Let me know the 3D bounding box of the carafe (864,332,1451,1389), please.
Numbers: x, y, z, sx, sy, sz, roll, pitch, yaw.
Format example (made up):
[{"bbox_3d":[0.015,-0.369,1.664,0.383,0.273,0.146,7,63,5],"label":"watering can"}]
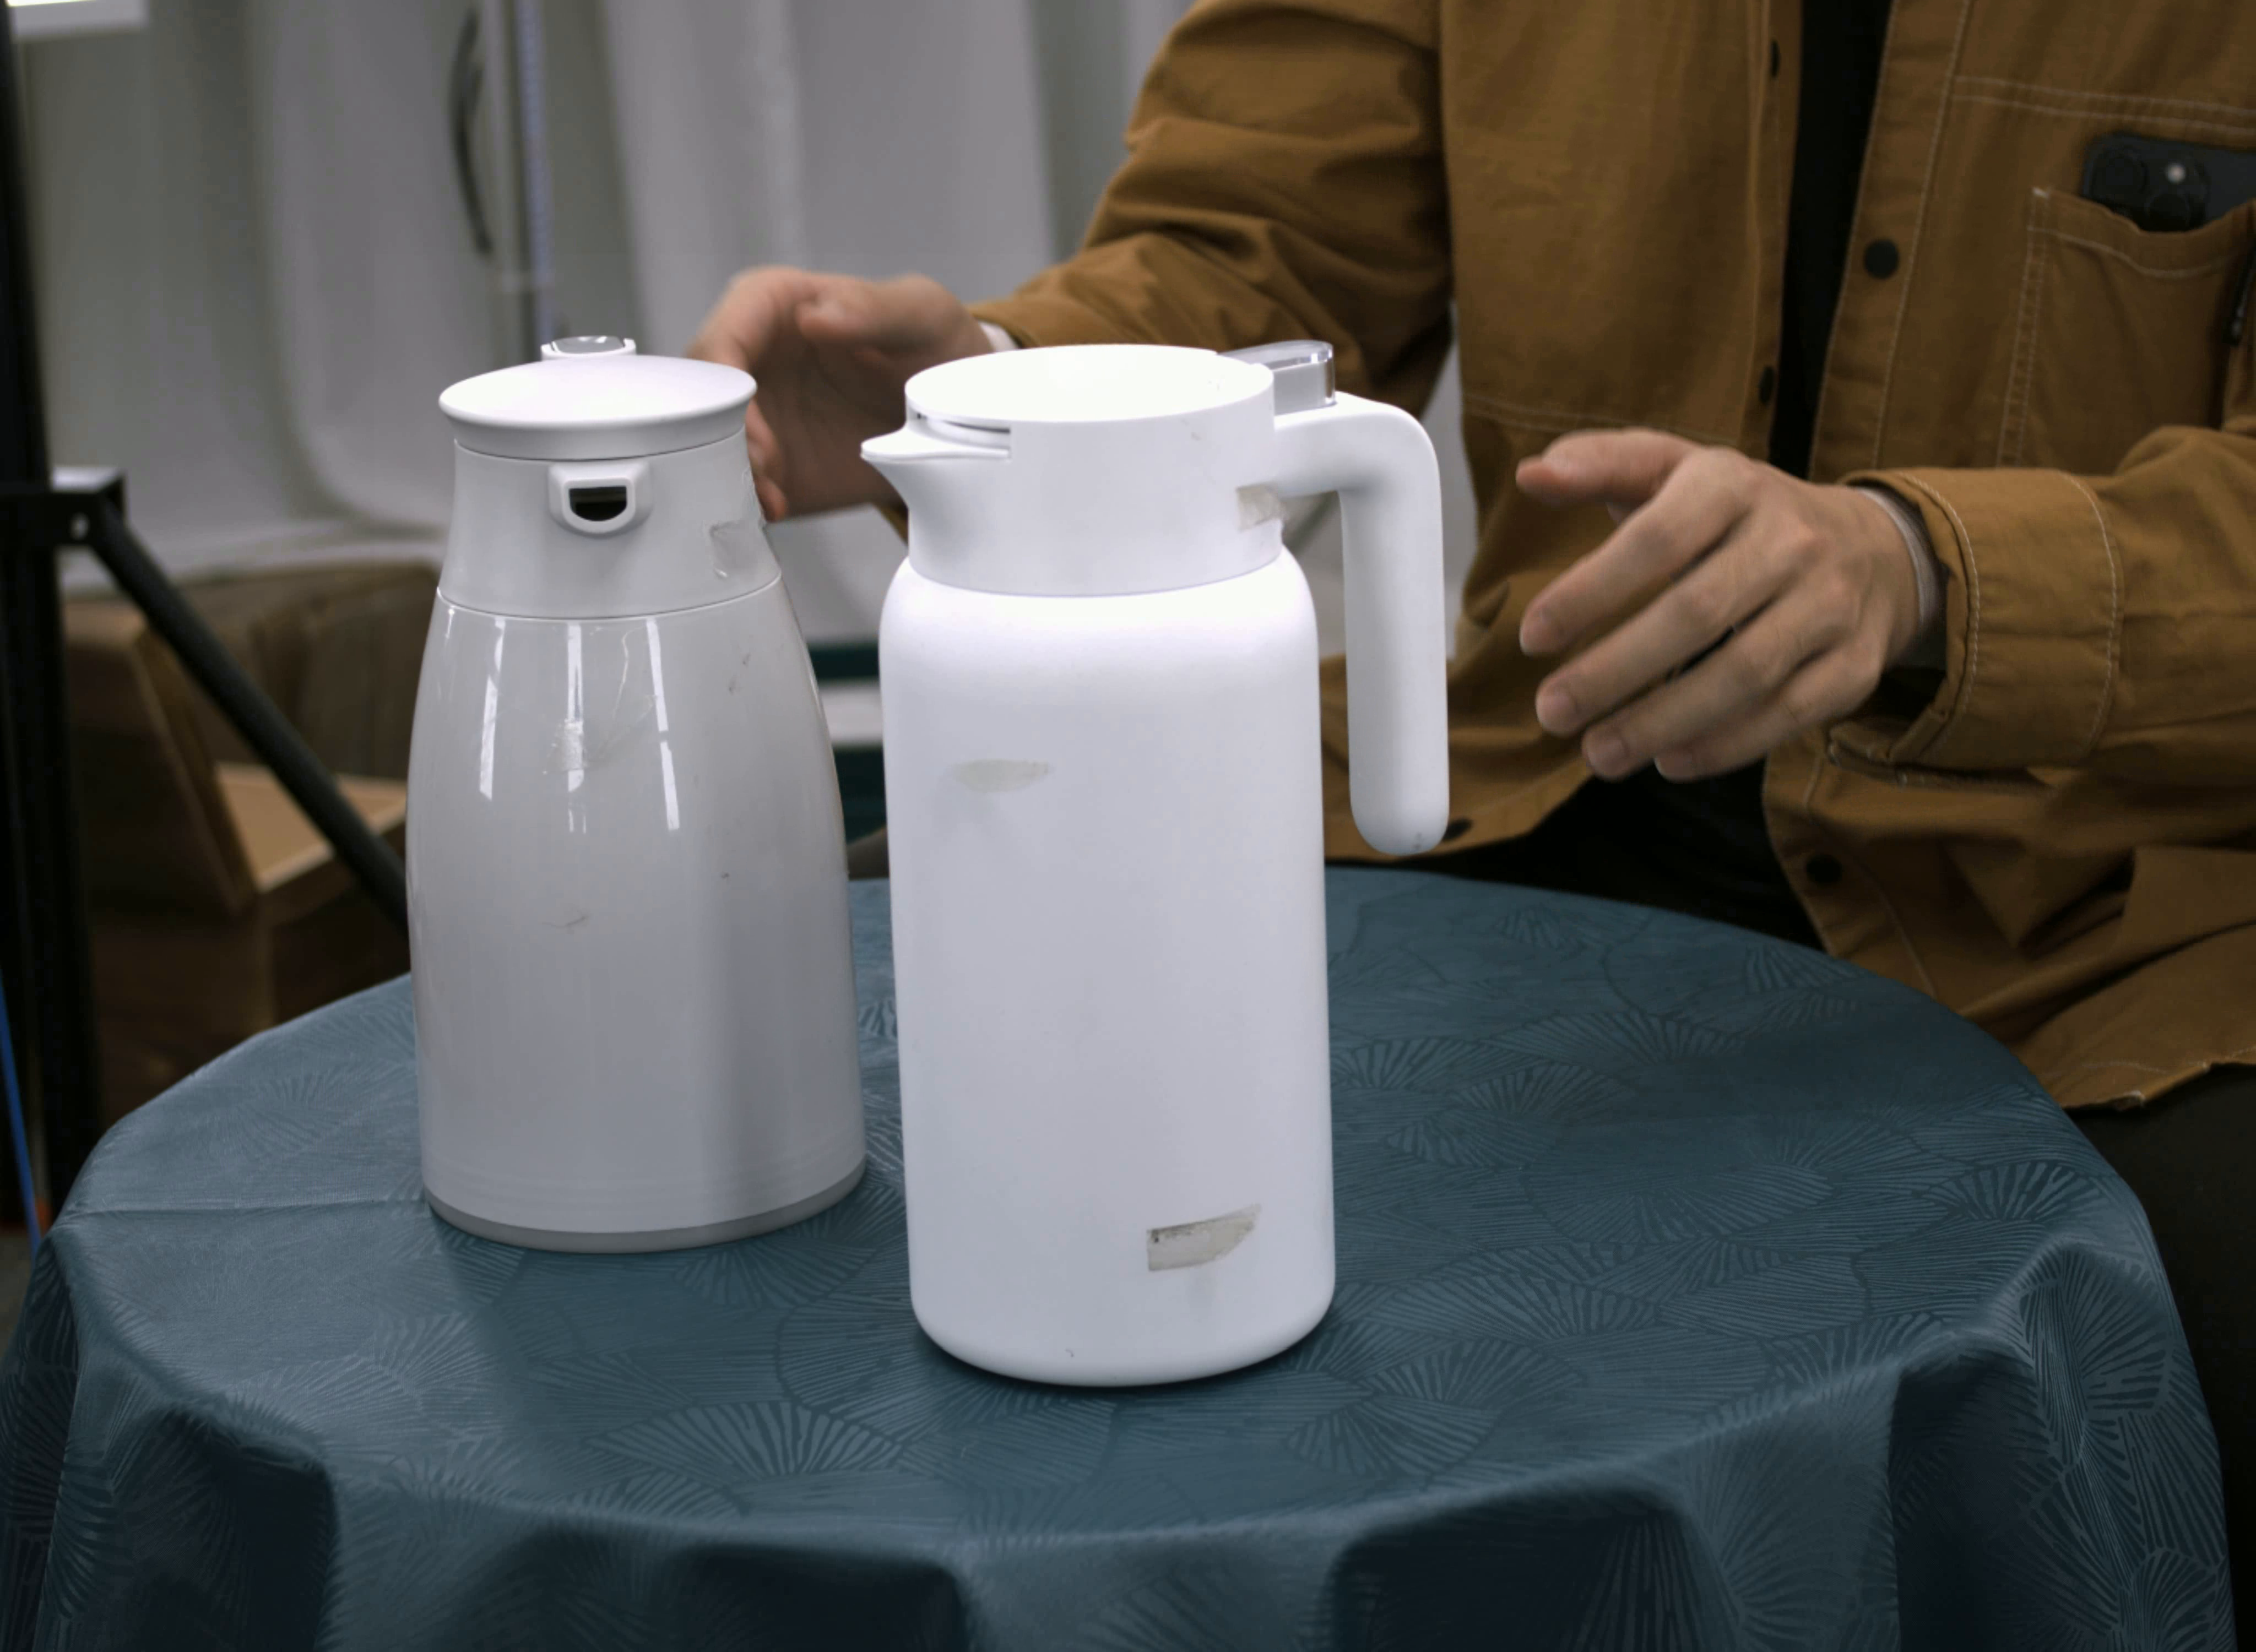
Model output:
[{"bbox_3d":[0.009,0.005,1.429,0.169,0.269,0.126,-11,15,-30],"label":"carafe"}]

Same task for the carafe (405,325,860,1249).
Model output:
[{"bbox_3d":[-0.150,-0.020,1.576,0.131,0.249,0.169,-3,14,-4],"label":"carafe"}]
